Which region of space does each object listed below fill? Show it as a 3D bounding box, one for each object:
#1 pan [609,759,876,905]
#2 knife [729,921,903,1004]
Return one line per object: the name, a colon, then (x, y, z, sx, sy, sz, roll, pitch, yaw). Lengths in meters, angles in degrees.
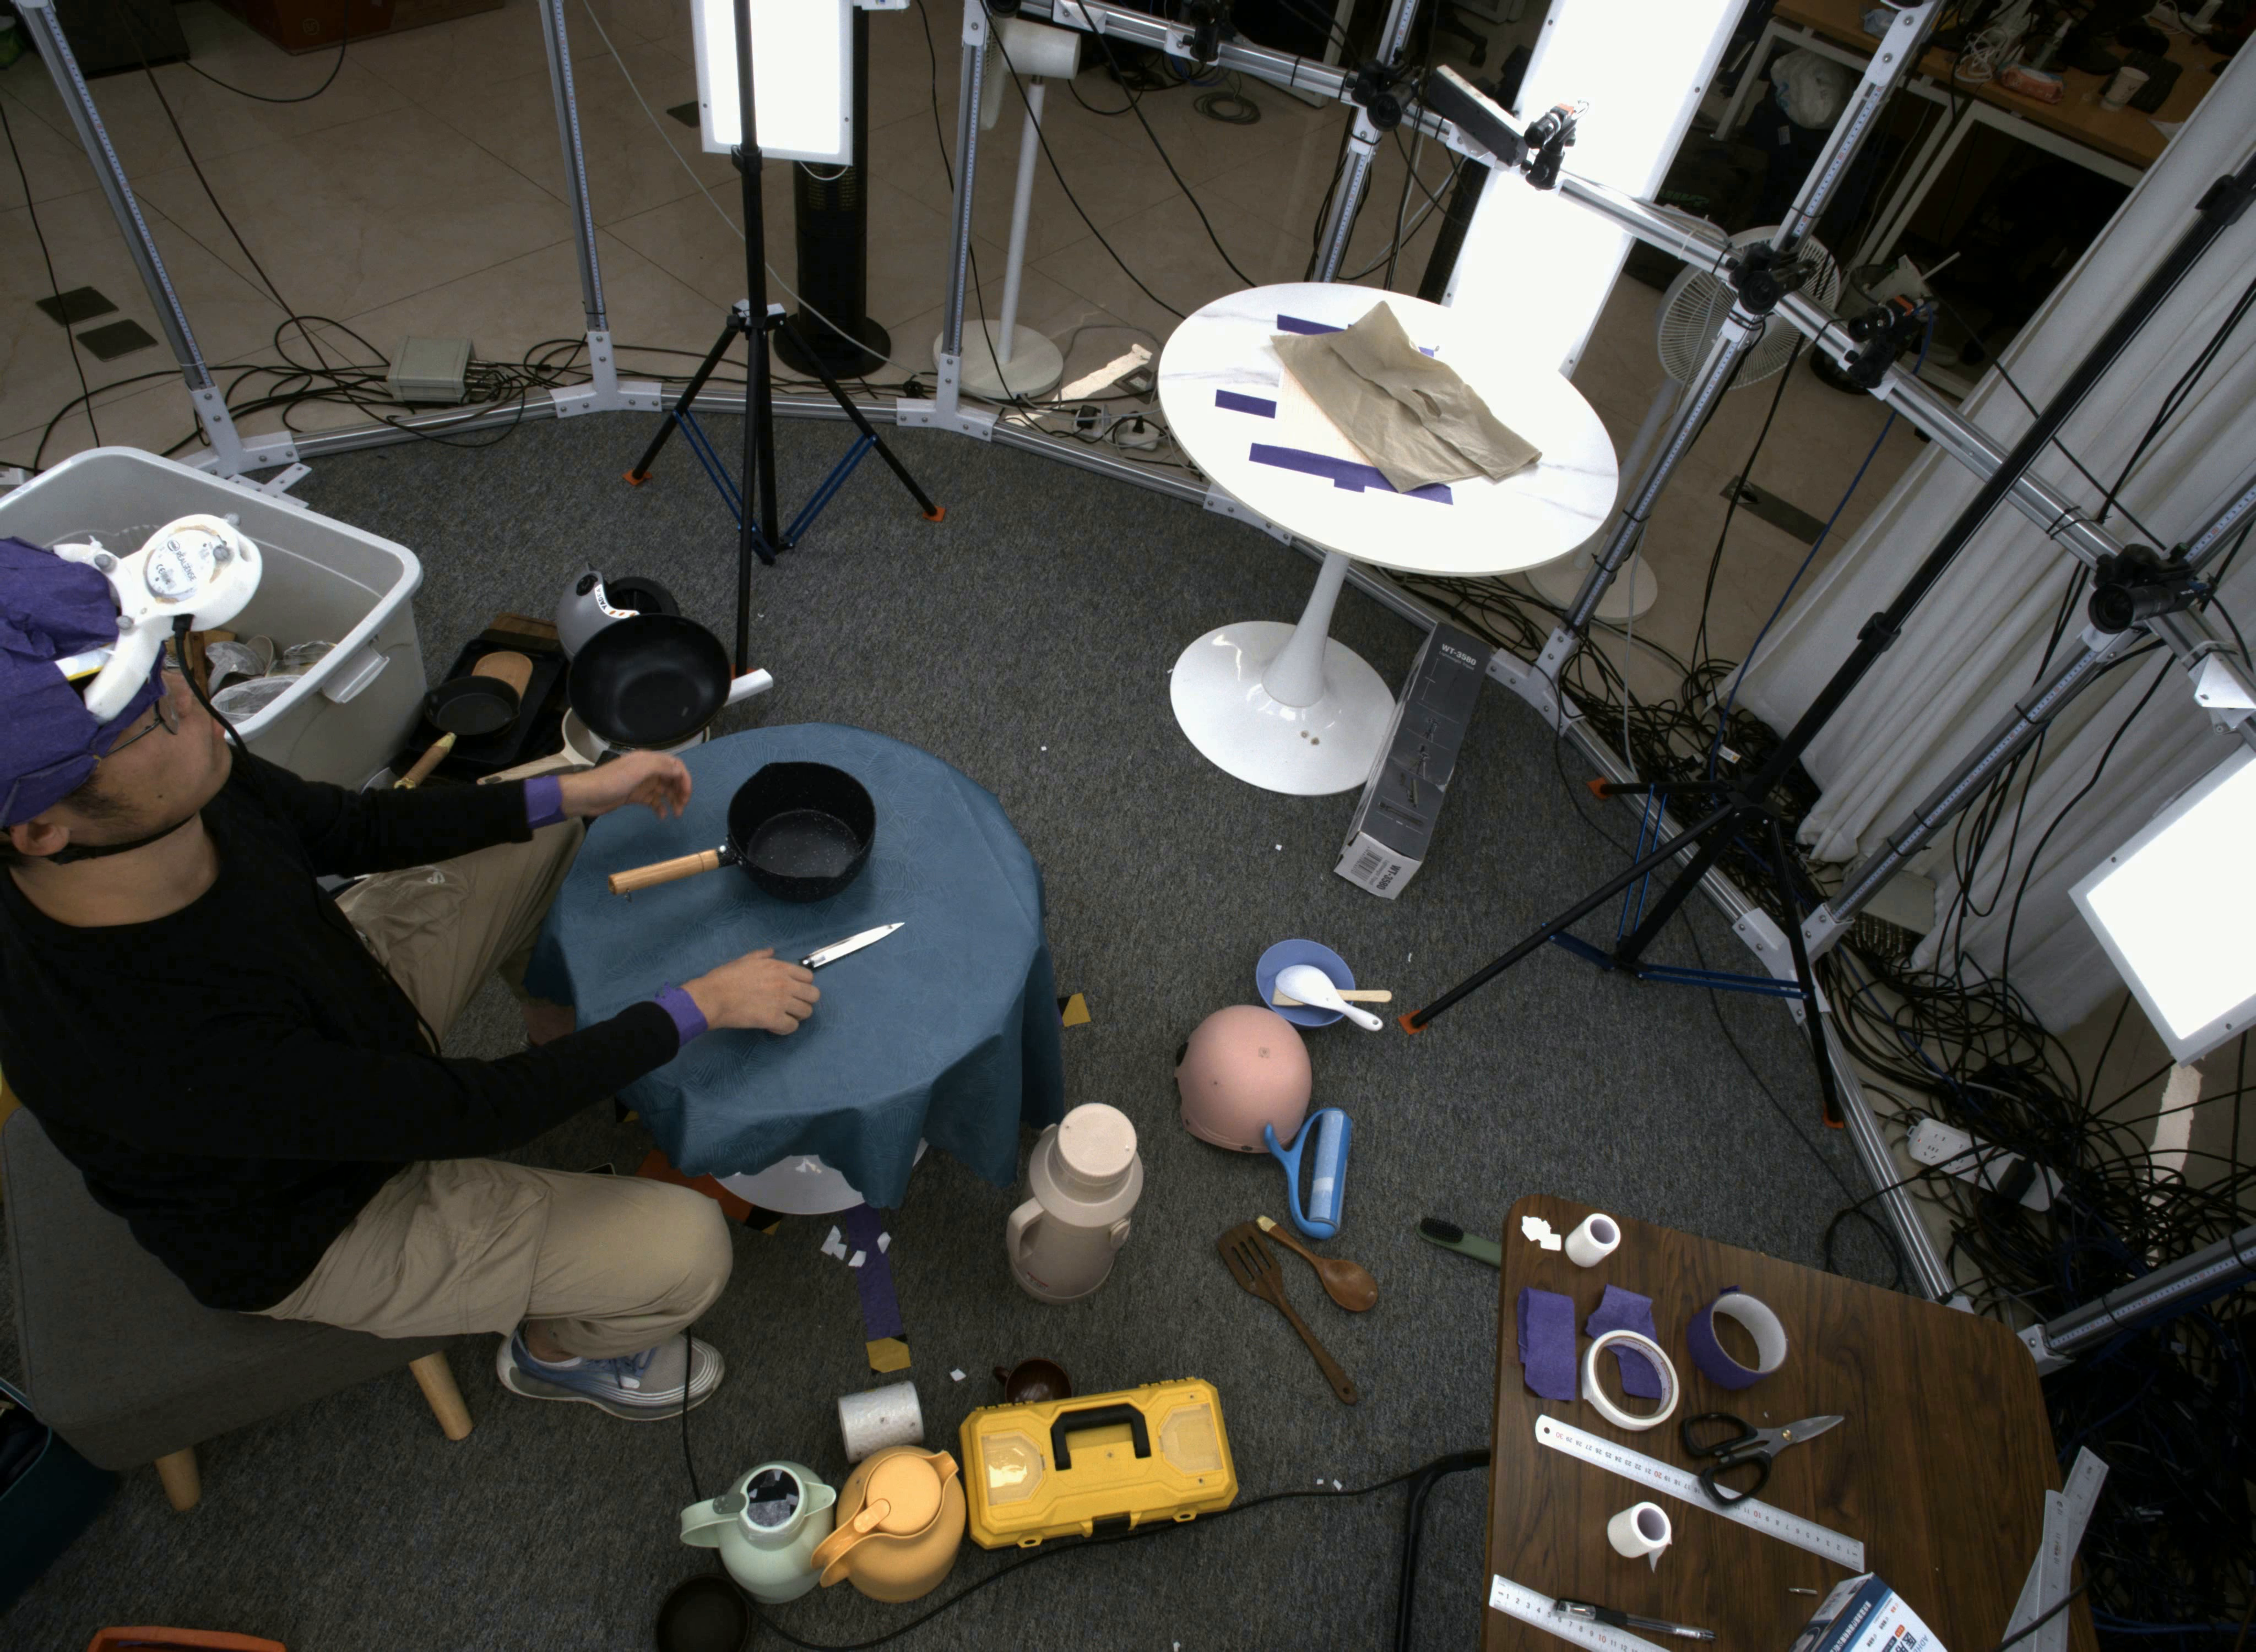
pan: (-0.478, 0.035, 1.613, 0.344, 0.110, 0.202, -25, 63, -30)
knife: (-0.380, 0.163, 1.604, 0.239, 0.017, 0.024, -24, 57, -32)
